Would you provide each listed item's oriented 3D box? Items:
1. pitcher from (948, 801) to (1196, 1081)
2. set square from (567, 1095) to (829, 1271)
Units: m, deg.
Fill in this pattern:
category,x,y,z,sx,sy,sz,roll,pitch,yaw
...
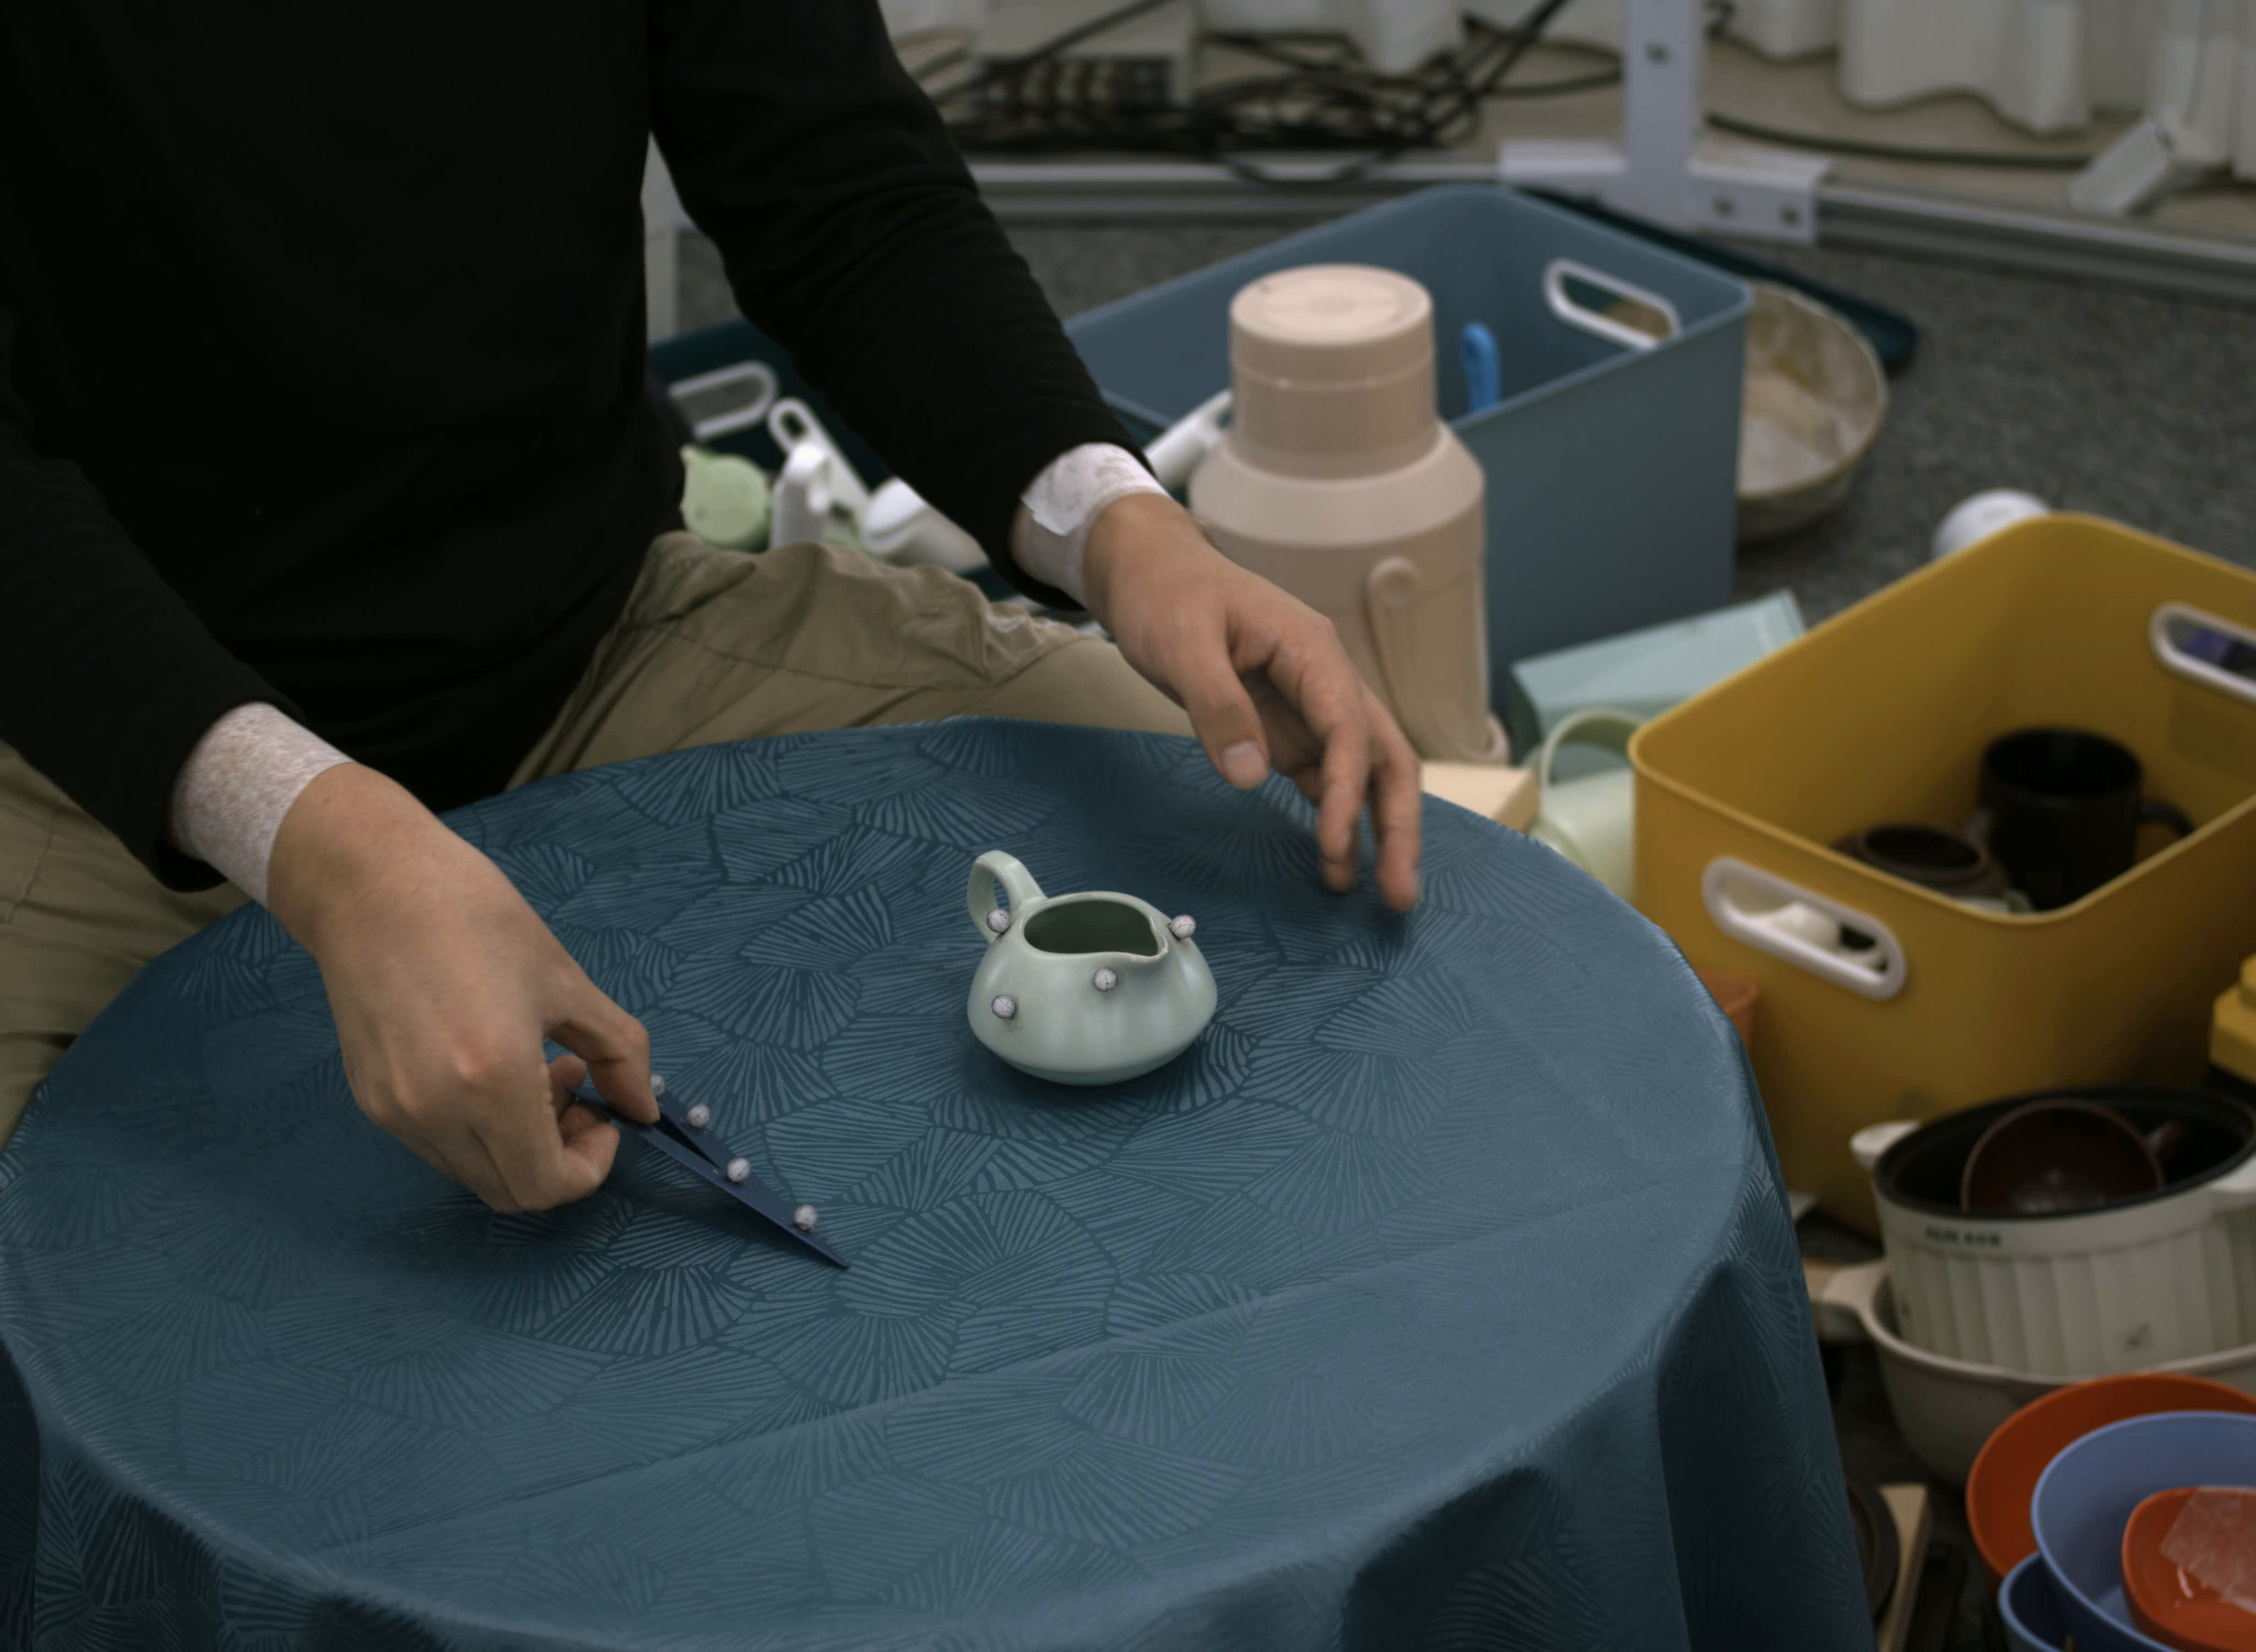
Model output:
category,x,y,z,sx,sy,sz,roll,pitch,yaw
pitcher,-0.025,0.040,1.947,0.086,0.059,0.109,-21,48,-13
set square,-0.145,0.112,1.849,0.061,0.006,0.132,19,11,-34
